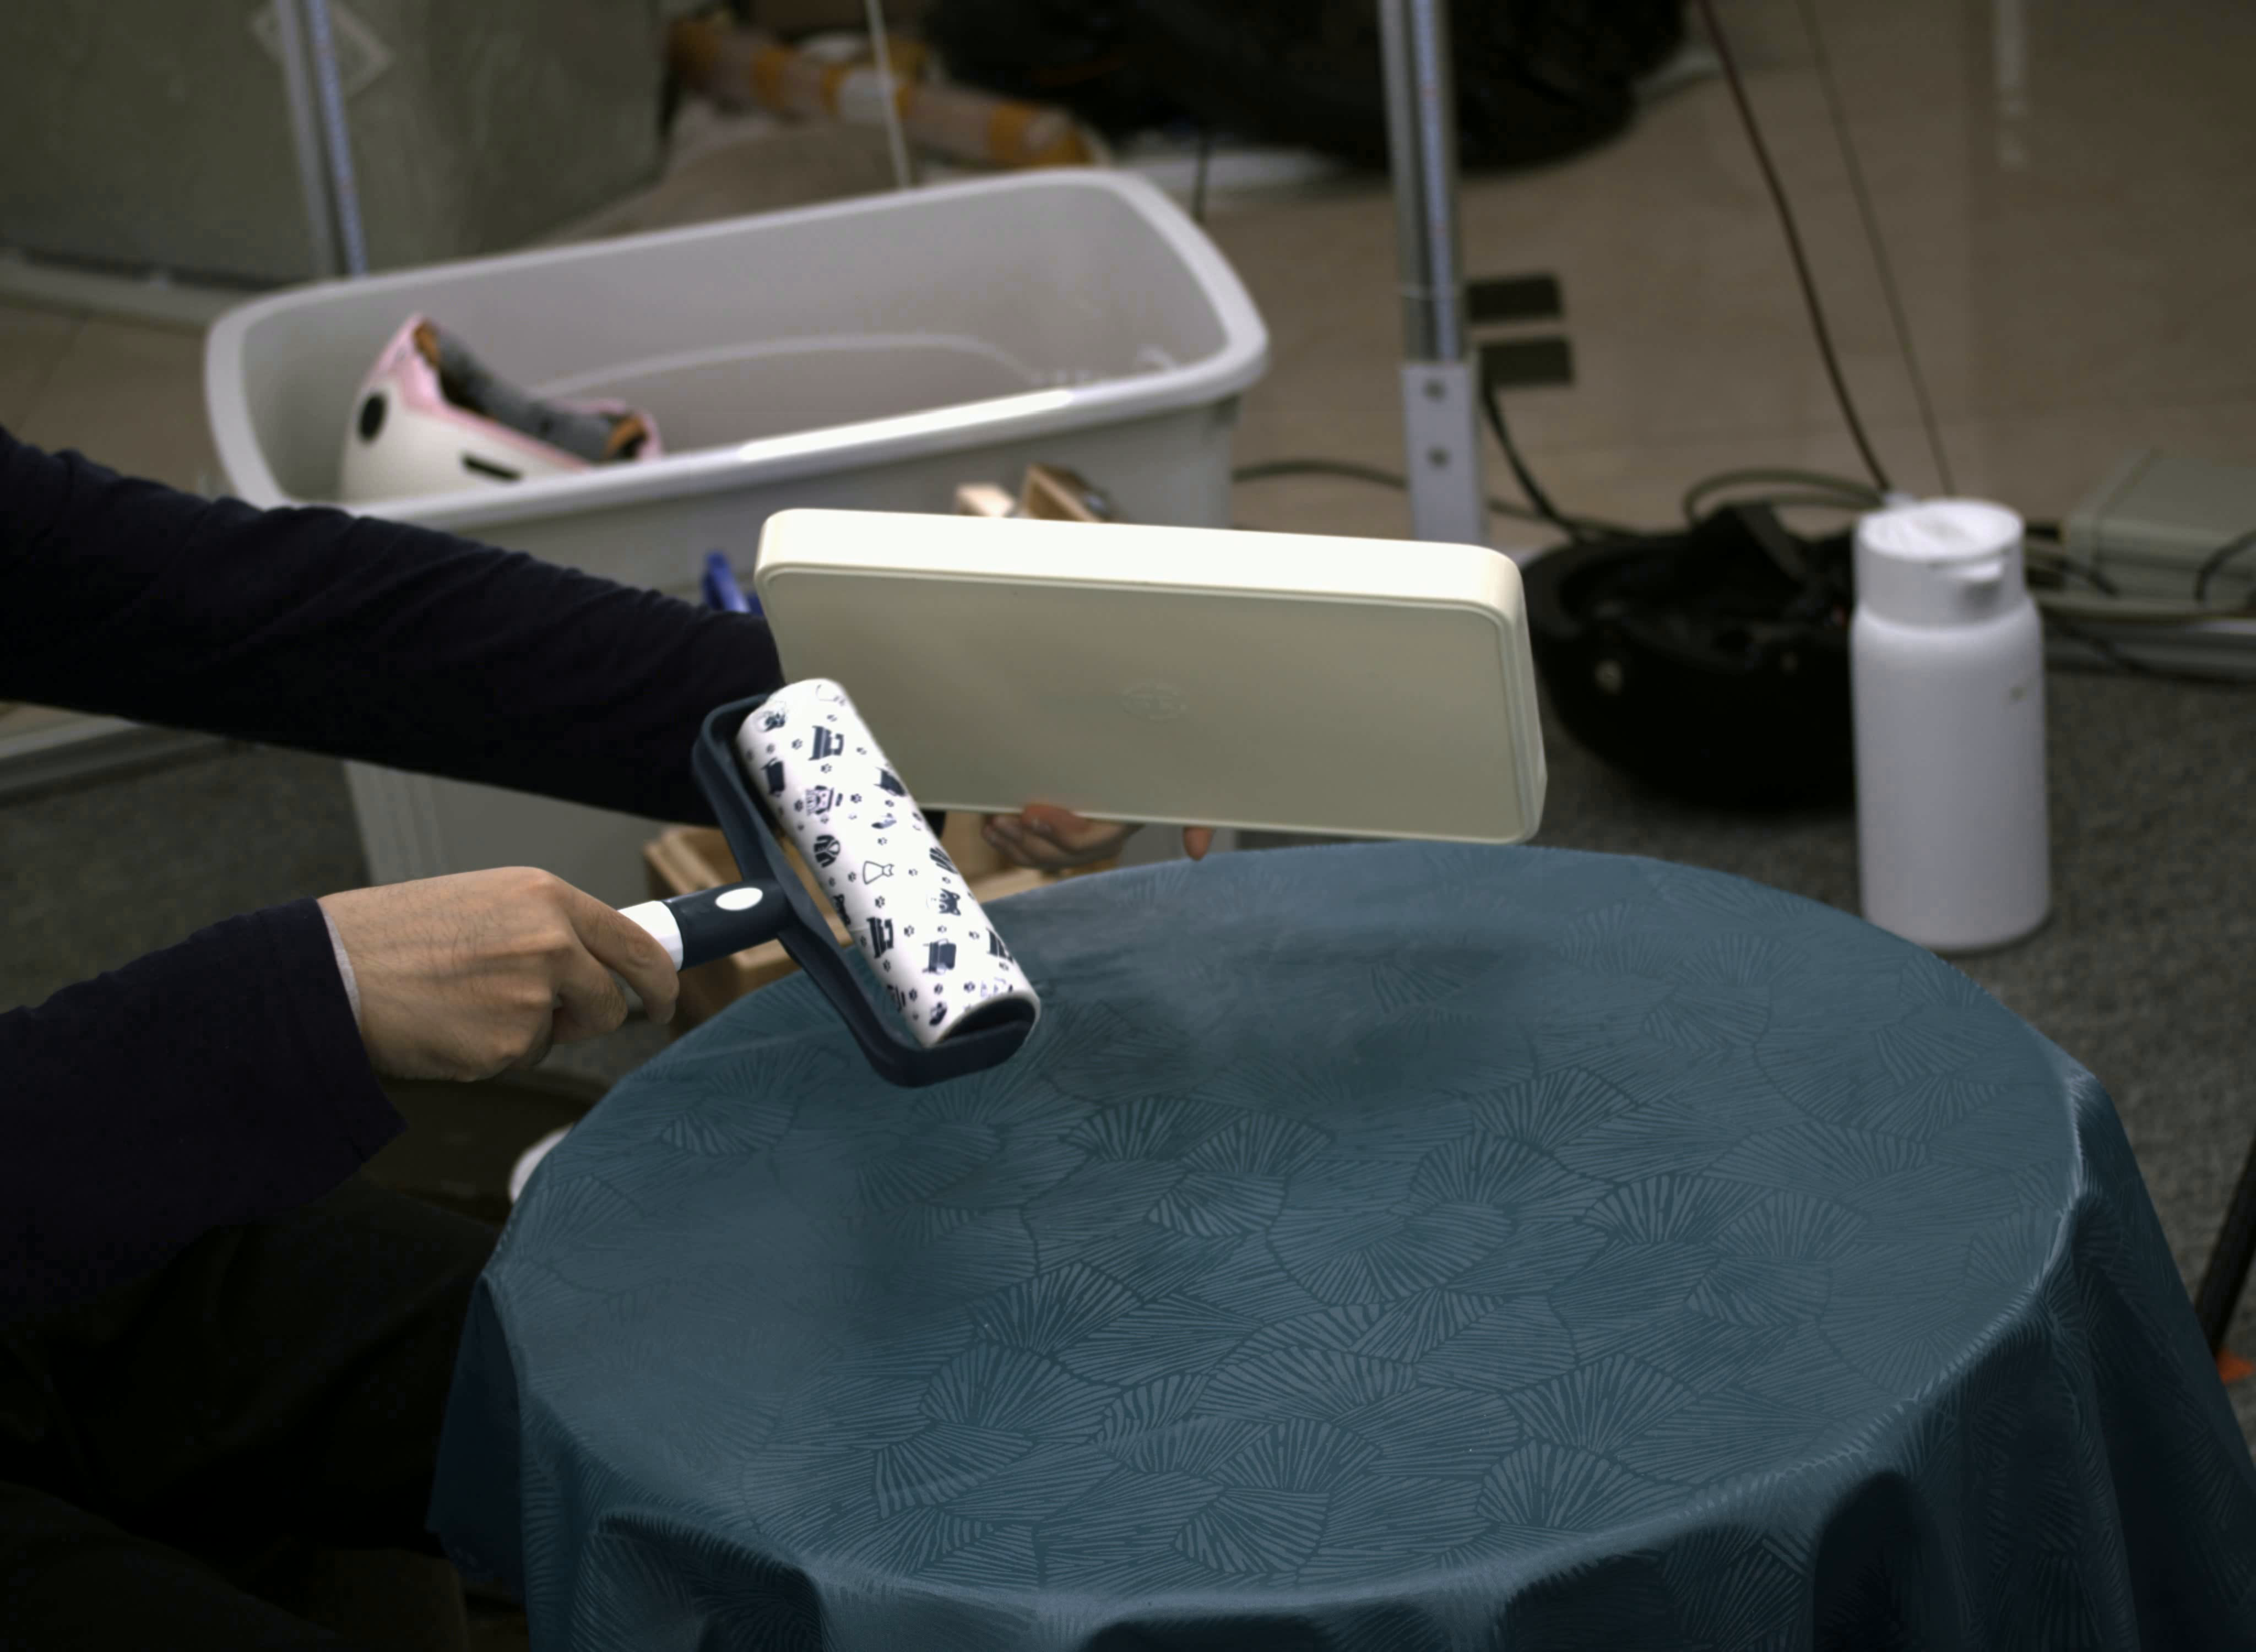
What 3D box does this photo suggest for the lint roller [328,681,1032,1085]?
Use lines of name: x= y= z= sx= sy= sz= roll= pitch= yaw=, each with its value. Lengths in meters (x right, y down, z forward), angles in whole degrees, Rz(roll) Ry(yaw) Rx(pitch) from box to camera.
lint roller: x=-0.175 y=0.043 z=2.057 sx=0.246 sy=0.051 sz=0.174 roll=-17 pitch=57 yaw=-31

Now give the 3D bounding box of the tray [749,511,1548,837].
tray: x=0.011 y=-0.058 z=2.236 sx=0.299 sy=0.194 sz=0.027 roll=4 pitch=64 yaw=11
